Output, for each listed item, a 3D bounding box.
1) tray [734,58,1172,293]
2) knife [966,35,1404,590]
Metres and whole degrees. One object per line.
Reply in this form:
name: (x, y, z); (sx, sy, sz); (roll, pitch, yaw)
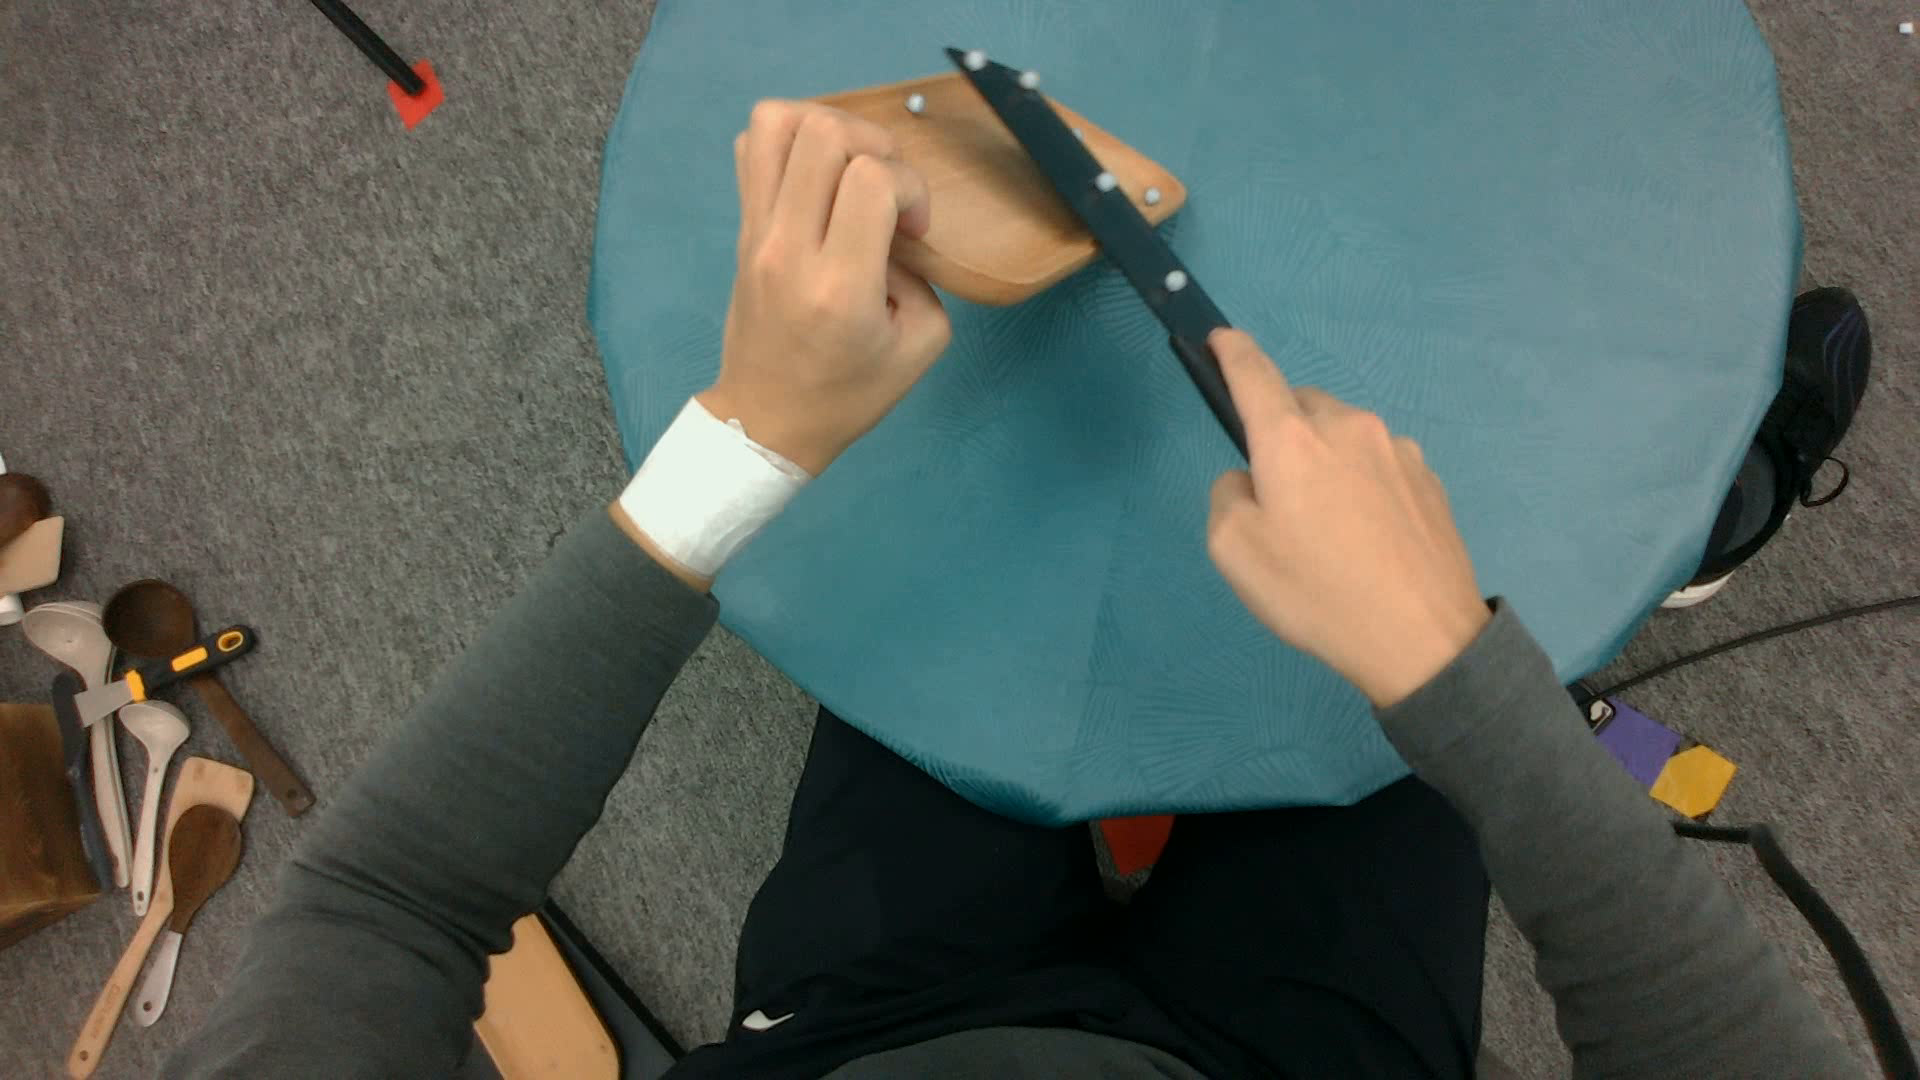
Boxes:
tray: (0.009, -0.165, 0.601); (0.130, 0.252, 0.023); (32, 122, 11)
knife: (0.091, -0.105, 0.577); (0.021, 0.081, 0.303); (-44, 62, 29)
